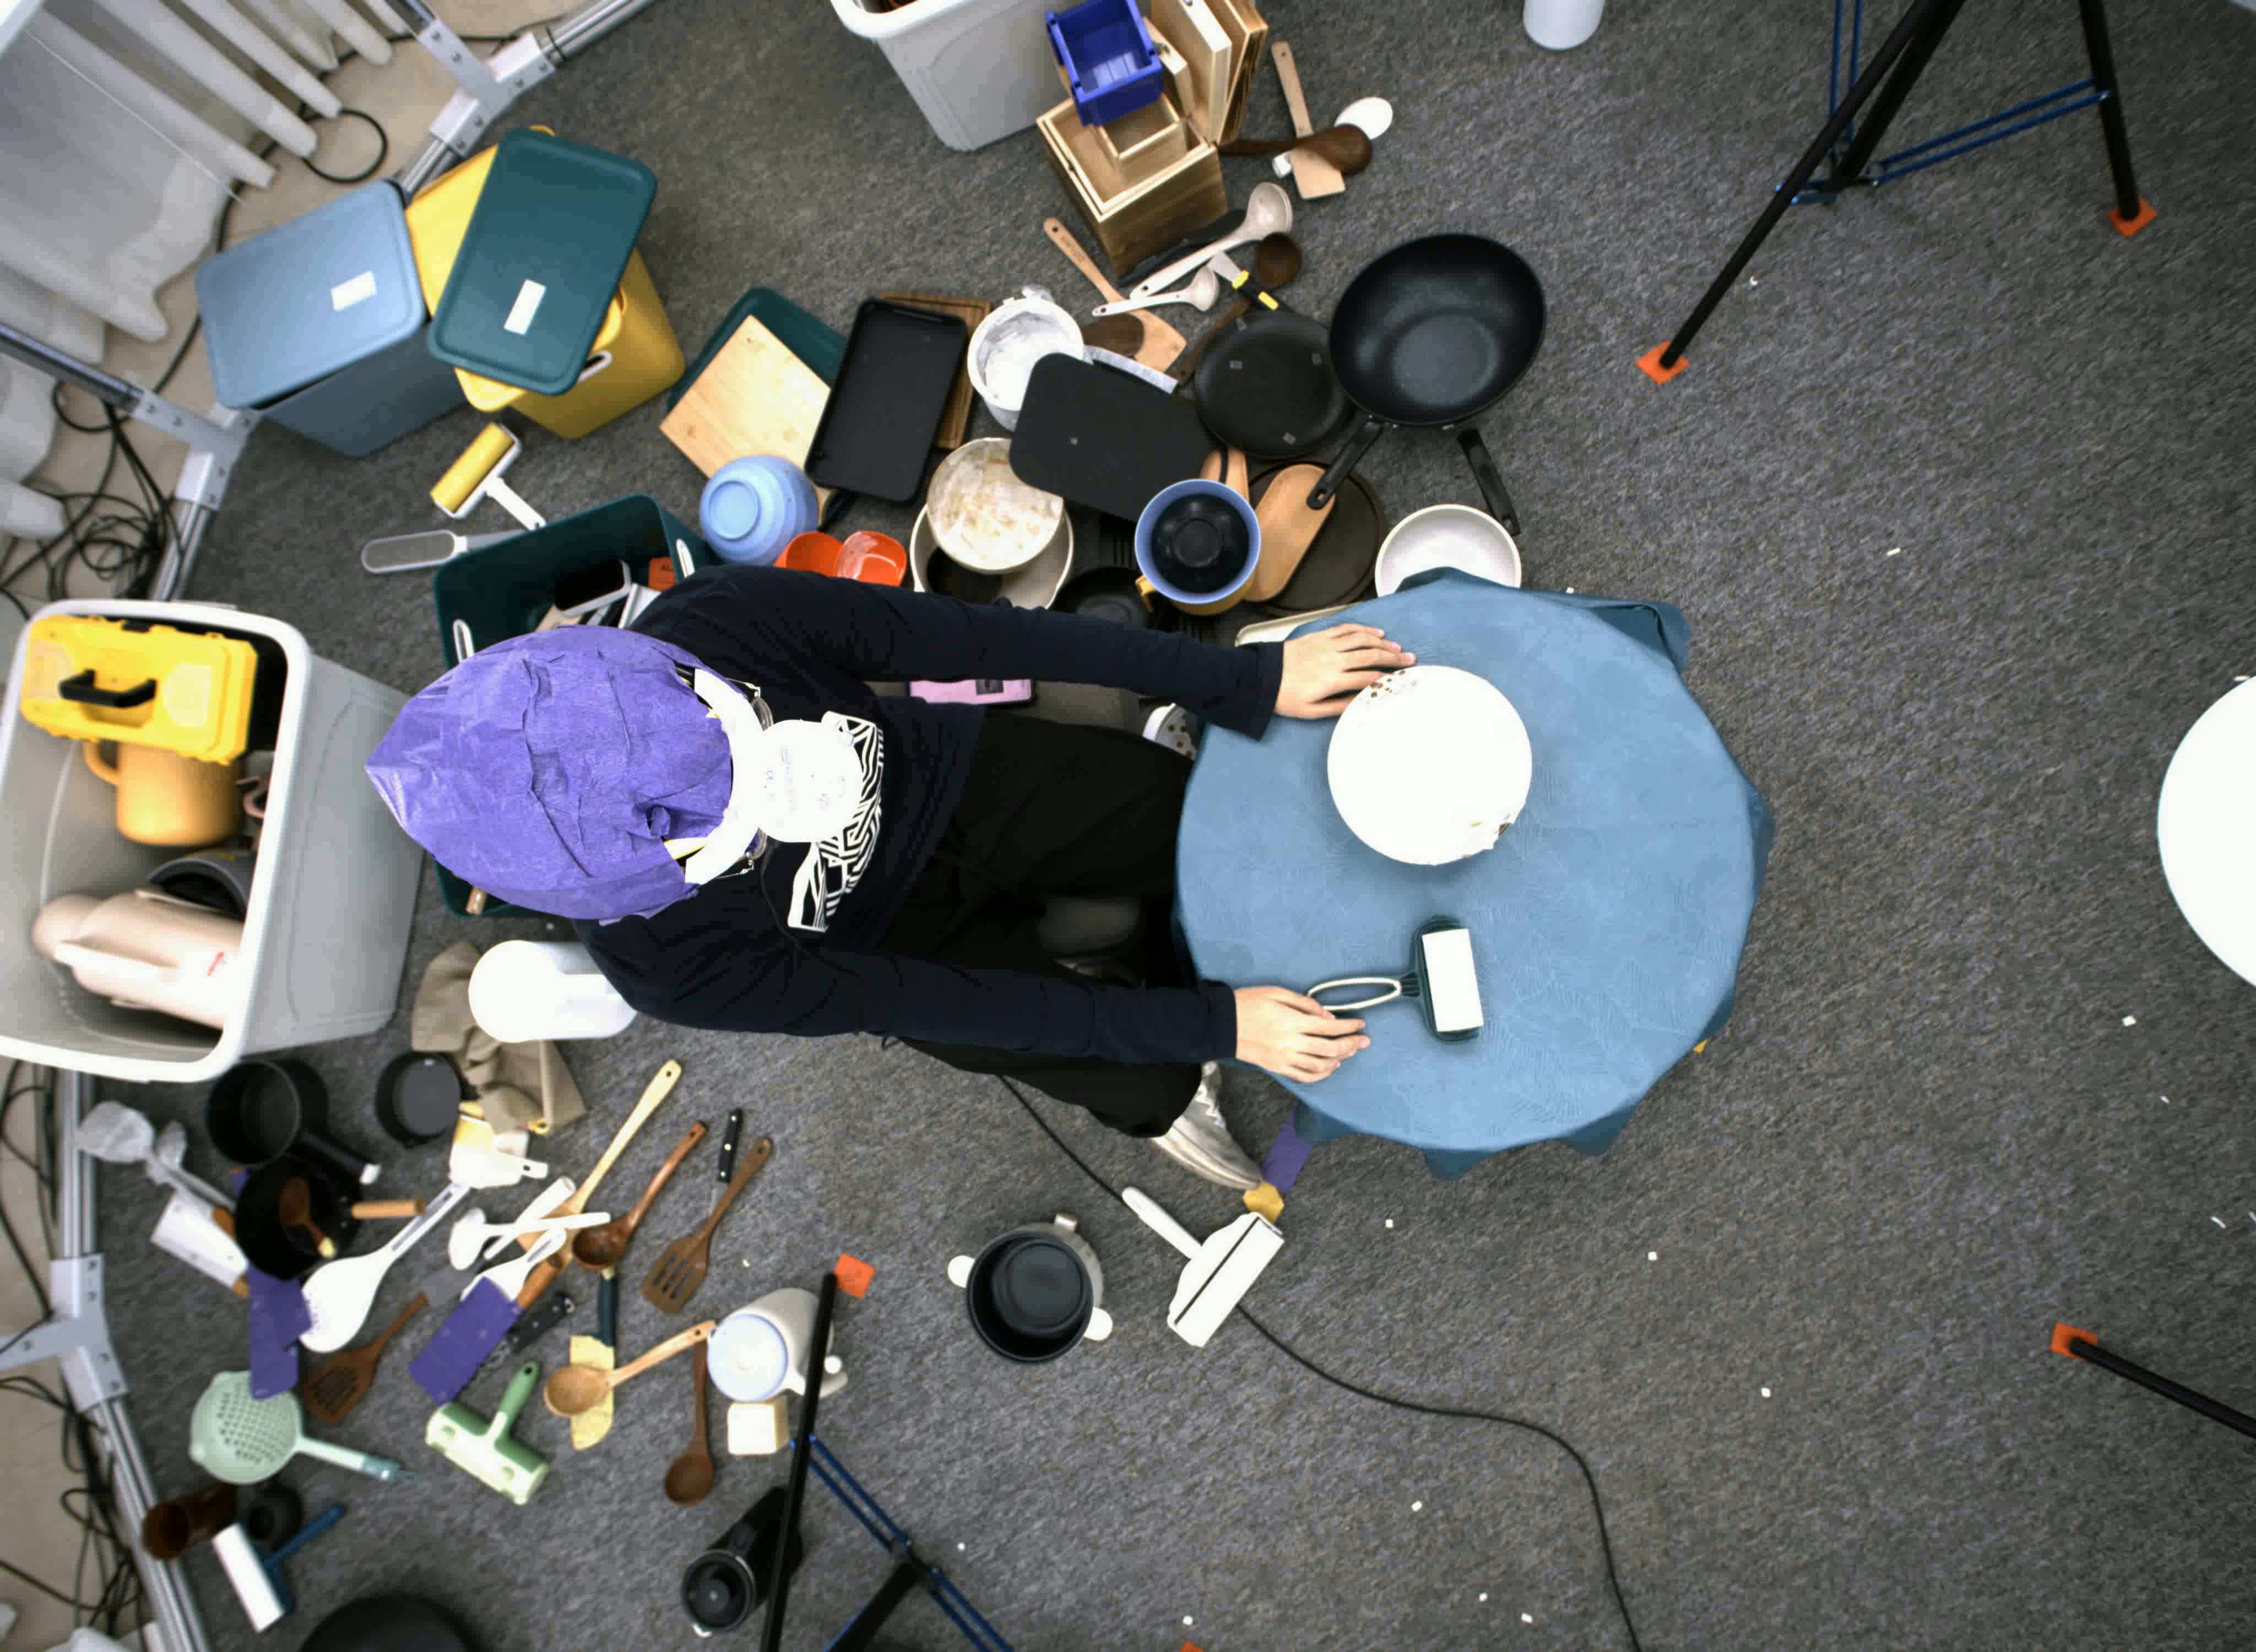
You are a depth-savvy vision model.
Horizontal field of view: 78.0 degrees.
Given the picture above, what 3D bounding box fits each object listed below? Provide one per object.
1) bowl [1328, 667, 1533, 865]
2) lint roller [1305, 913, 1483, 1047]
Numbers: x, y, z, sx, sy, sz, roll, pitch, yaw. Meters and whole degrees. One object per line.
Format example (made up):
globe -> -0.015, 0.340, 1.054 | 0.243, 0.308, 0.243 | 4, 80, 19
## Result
bowl -> 0.311, -0.059, 1.421 | 0.205, 0.078, 0.203 | -1, 85, 12
lint roller -> 0.270, 0.168, 1.436 | 0.181, 0.048, 0.133 | -10, 85, 15
